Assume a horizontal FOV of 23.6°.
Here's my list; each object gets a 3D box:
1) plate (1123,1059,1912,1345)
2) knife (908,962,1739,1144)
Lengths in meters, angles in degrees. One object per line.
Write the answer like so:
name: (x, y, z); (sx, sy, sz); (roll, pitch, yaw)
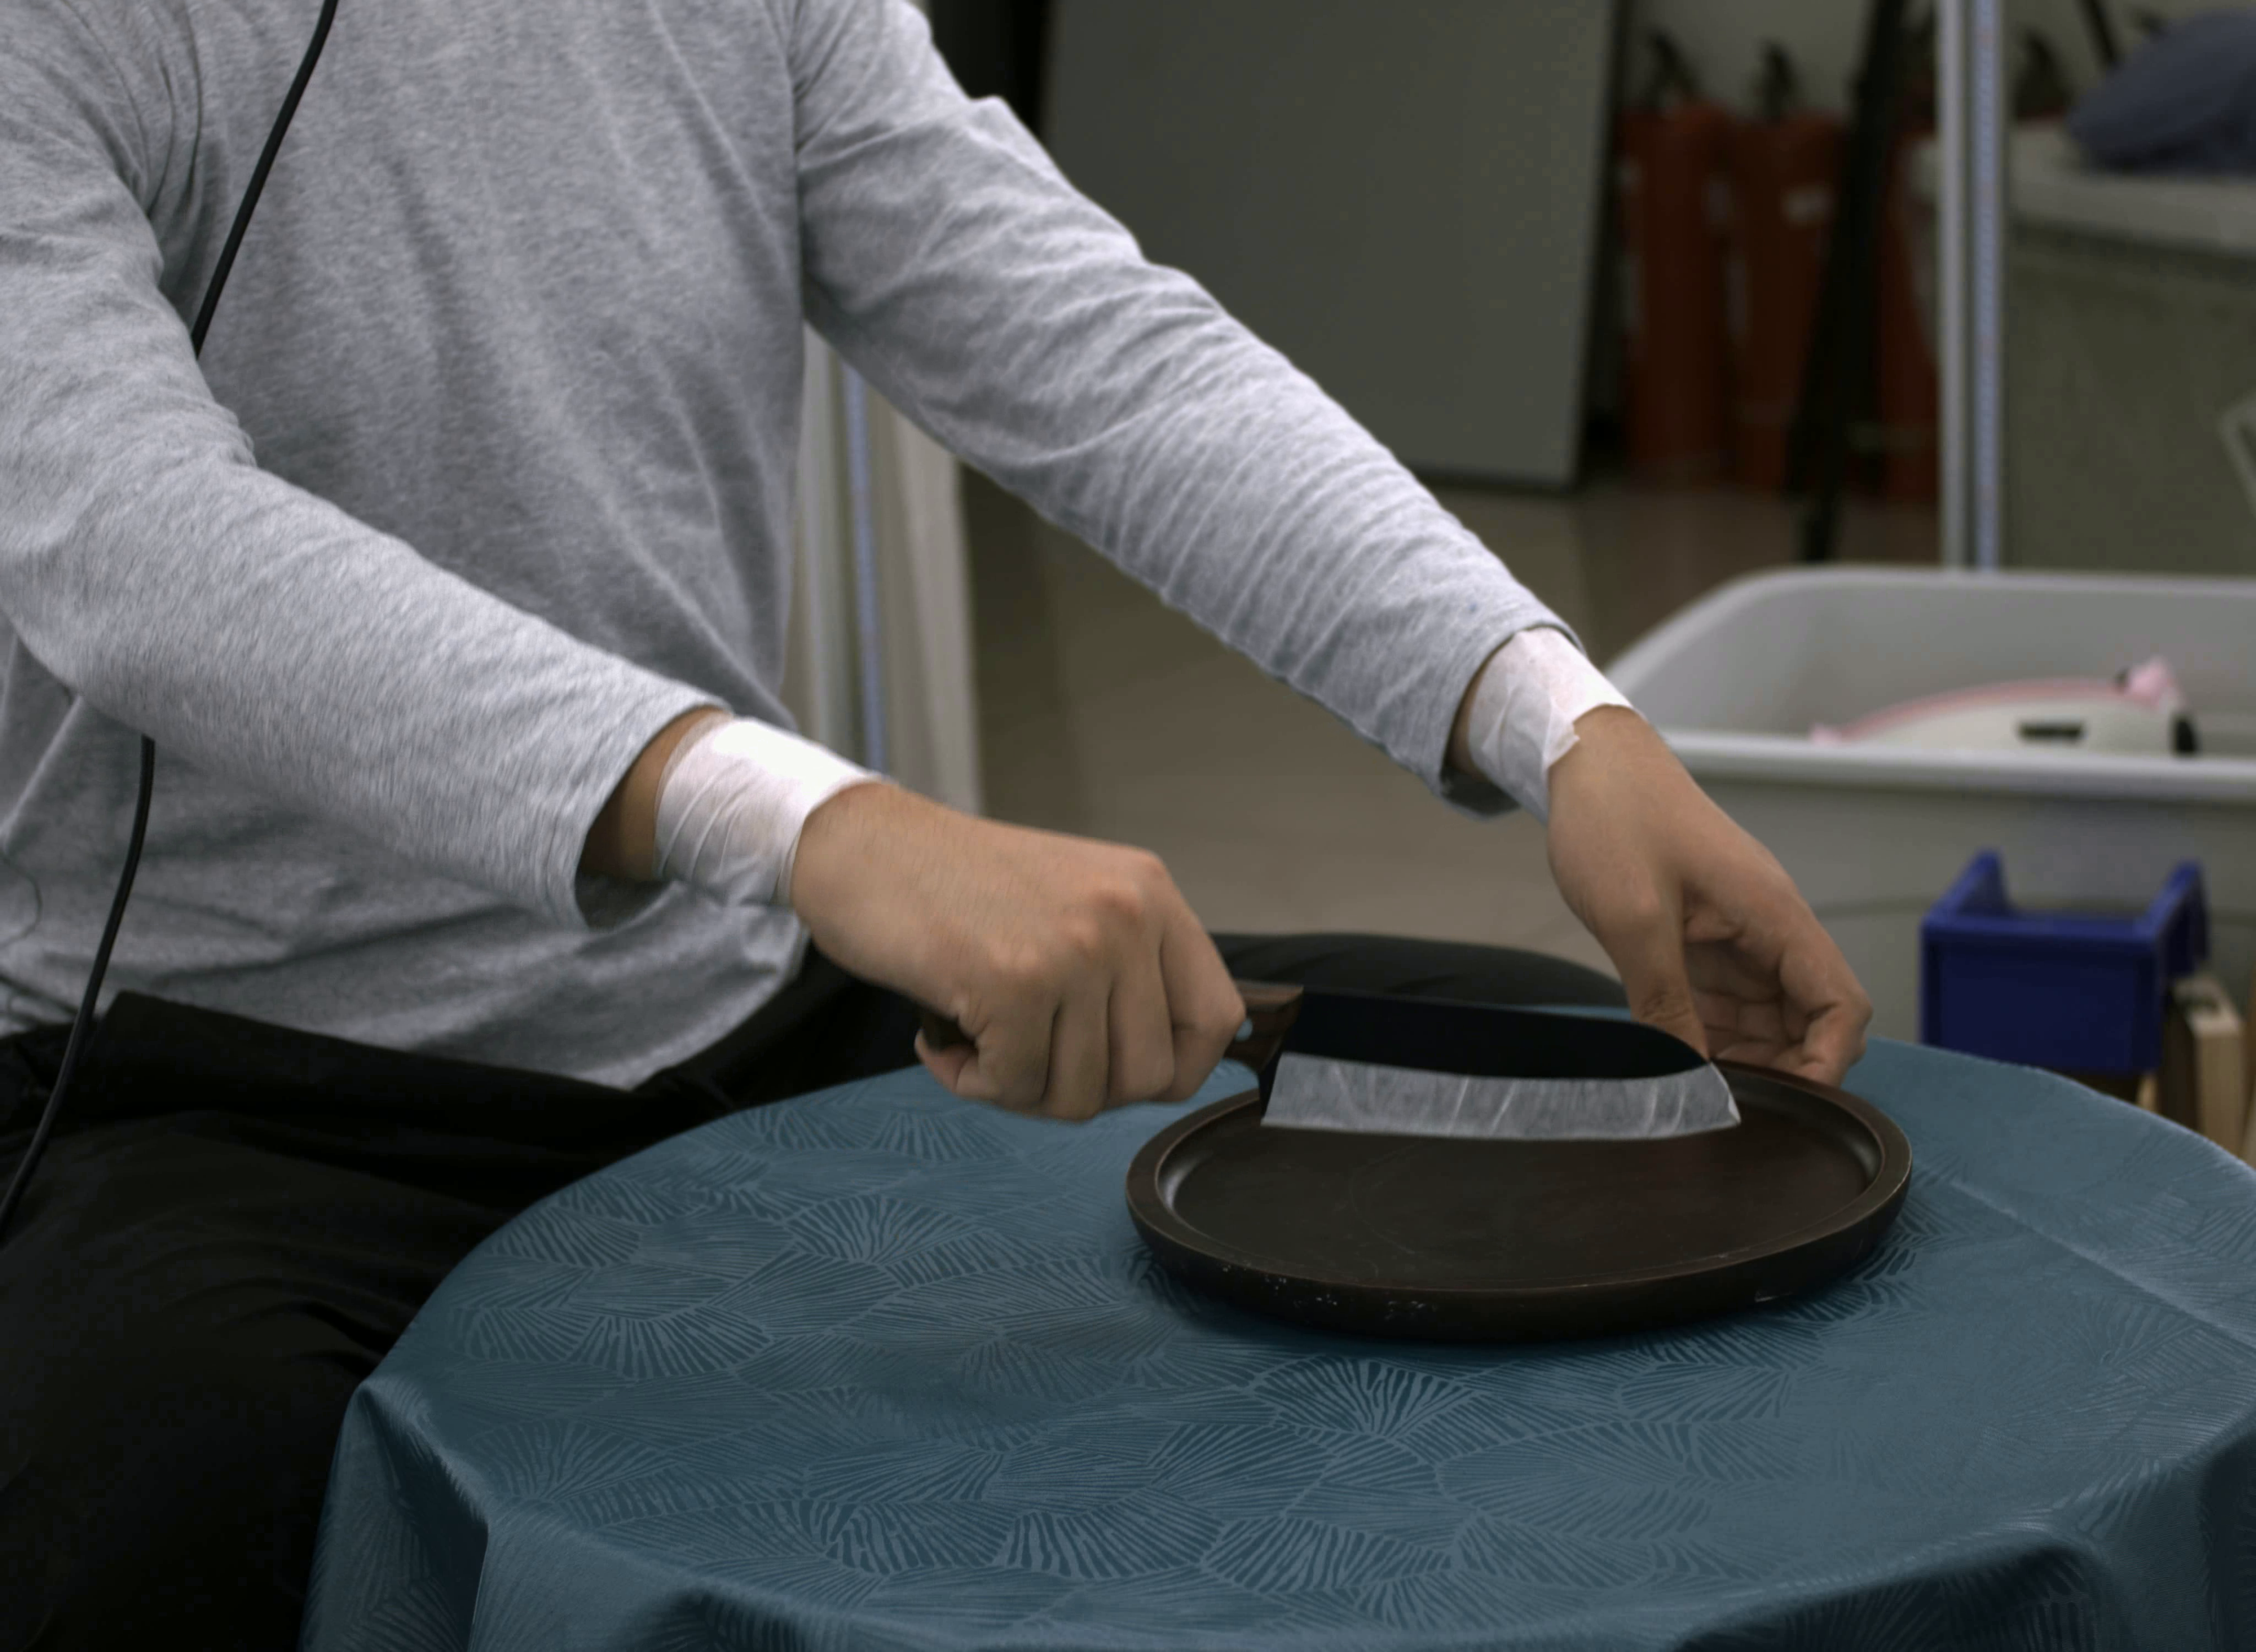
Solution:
plate: (0.123, 0.116, 1.709); (0.251, 0.029, 0.255); (-6, 14, 1)
knife: (0.064, 0.070, 1.630); (0.283, 0.051, 0.020); (8, 15, -23)
